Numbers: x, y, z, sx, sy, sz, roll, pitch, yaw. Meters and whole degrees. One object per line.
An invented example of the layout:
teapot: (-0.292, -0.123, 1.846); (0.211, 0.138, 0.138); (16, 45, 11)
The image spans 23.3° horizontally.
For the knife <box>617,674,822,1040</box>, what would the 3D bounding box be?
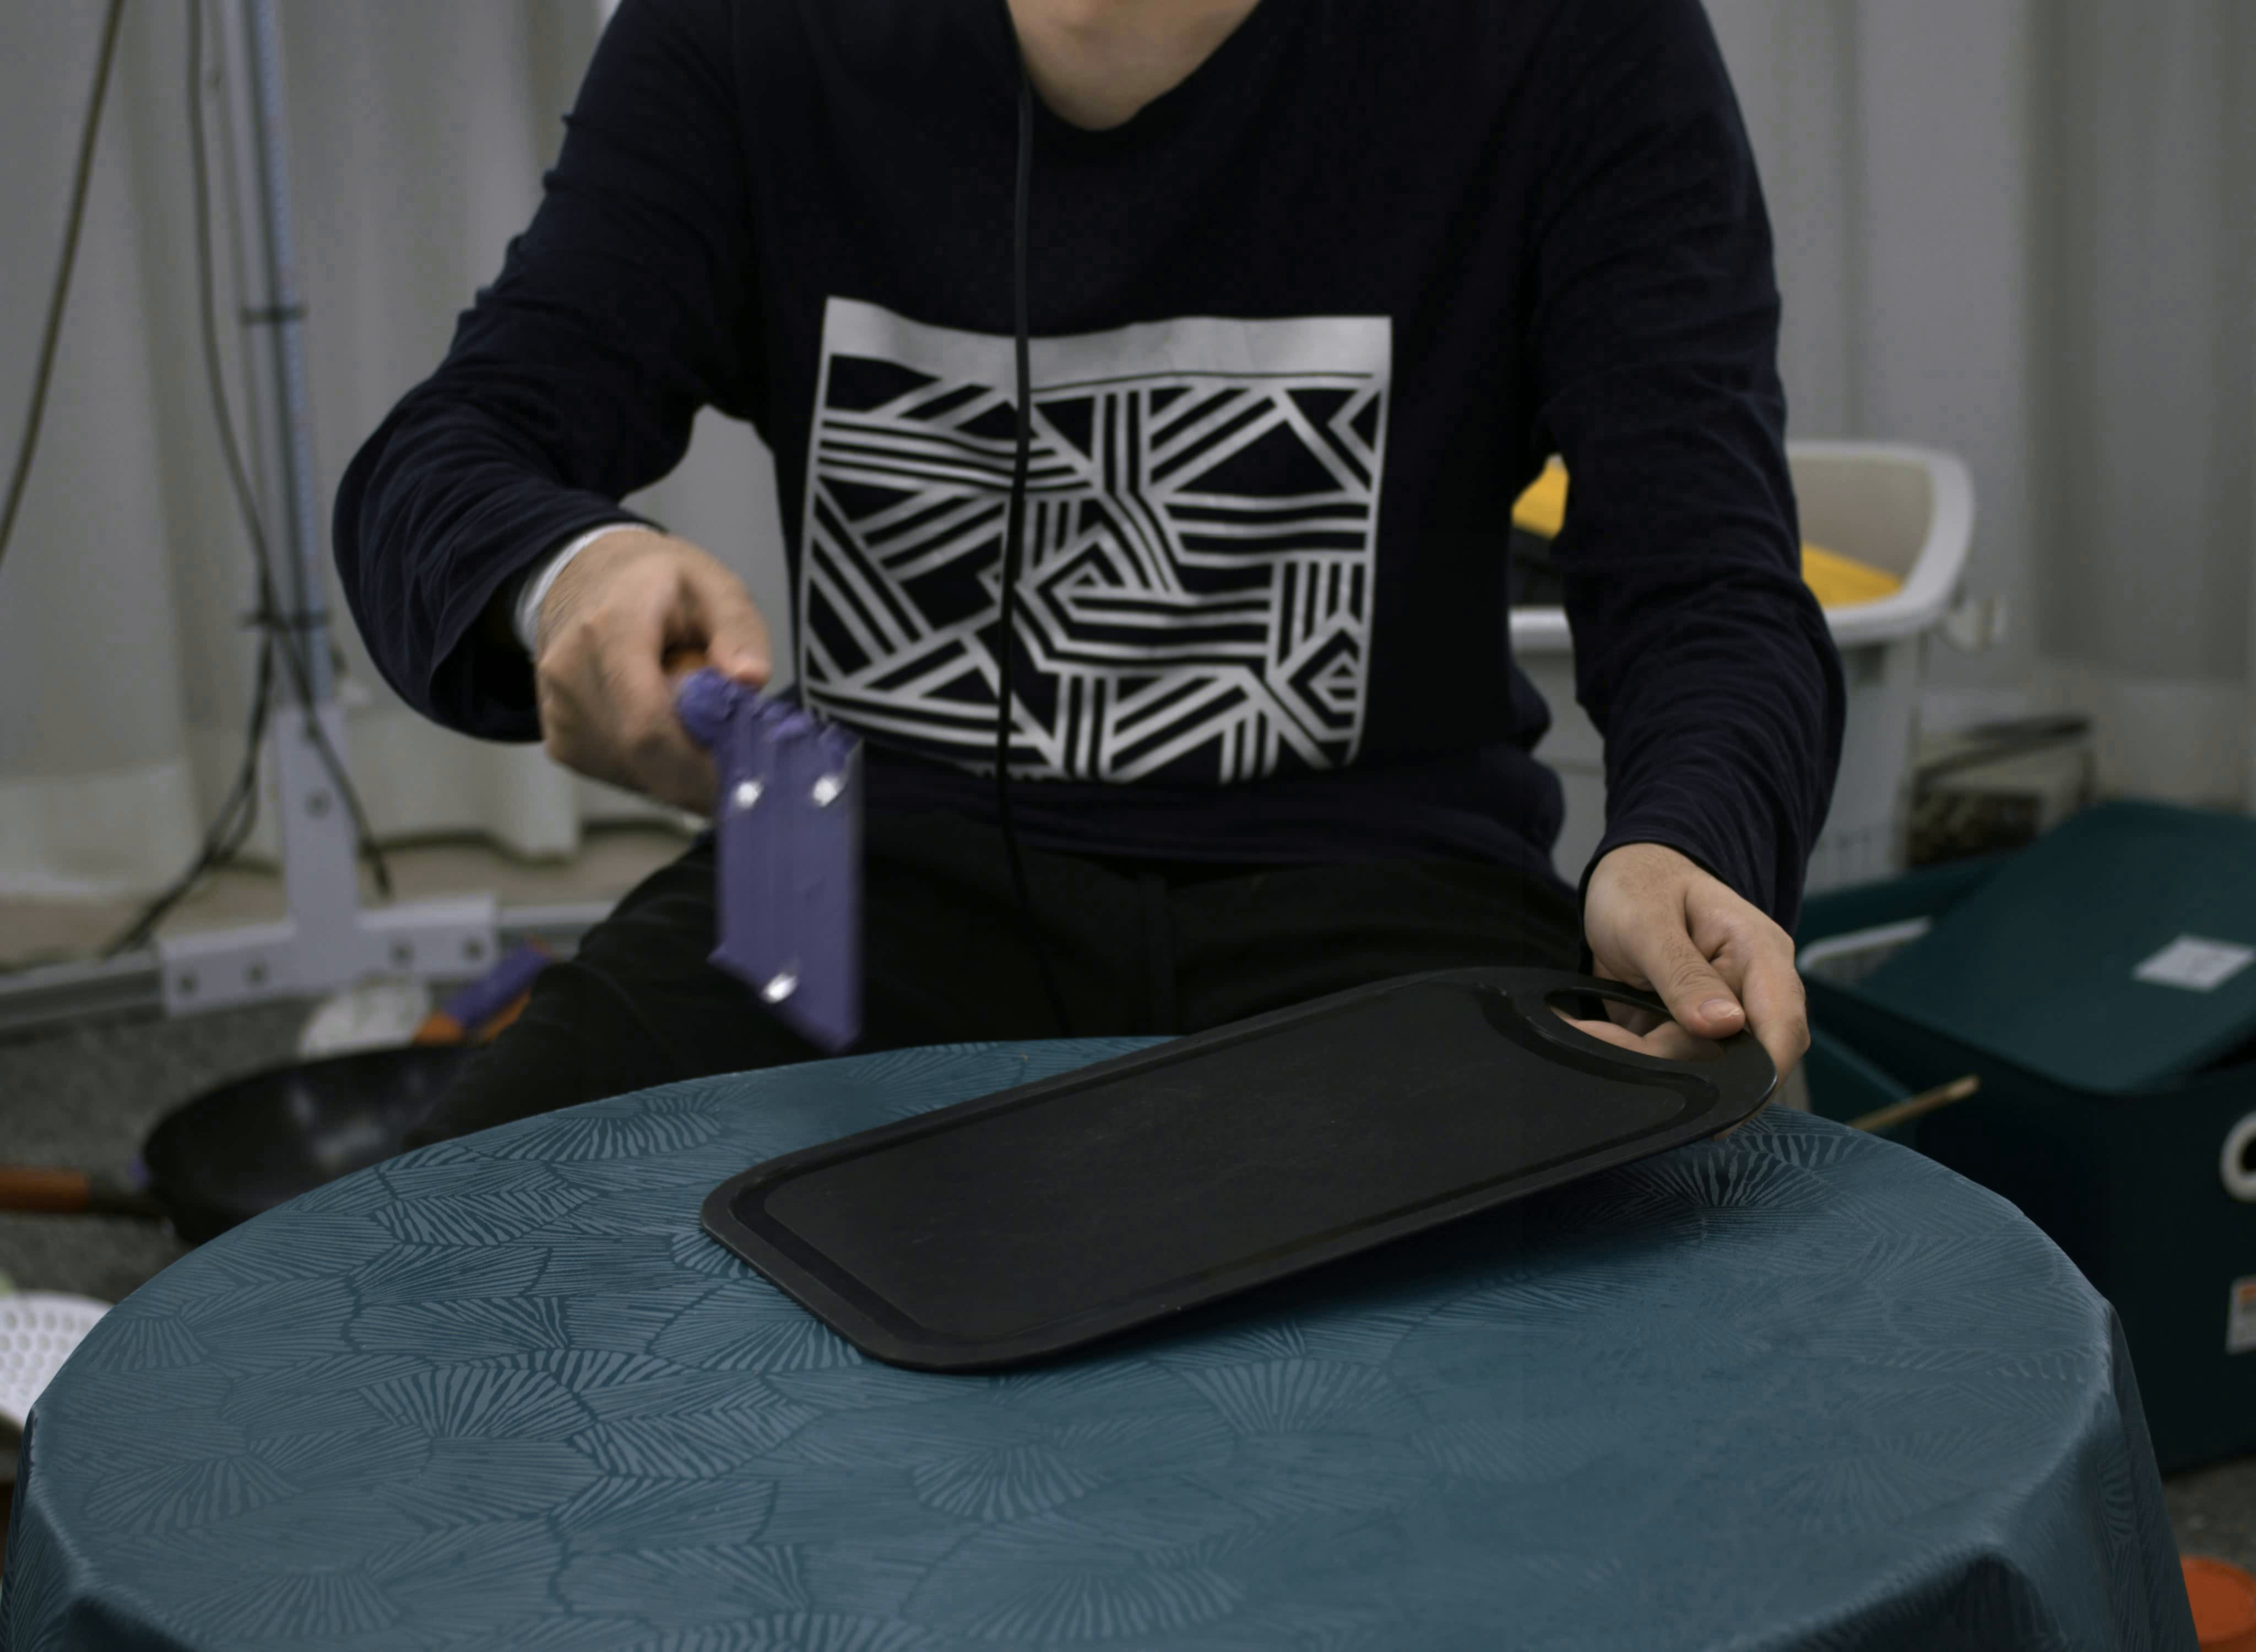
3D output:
knife: (-0.127, 0.008, 1.681); (0.032, 0.104, 0.316); (4, 5, -12)

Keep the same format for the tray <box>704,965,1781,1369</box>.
tray: (0.040, 0.098, 1.700); (0.324, 0.010, 0.213); (-16, 18, -22)
